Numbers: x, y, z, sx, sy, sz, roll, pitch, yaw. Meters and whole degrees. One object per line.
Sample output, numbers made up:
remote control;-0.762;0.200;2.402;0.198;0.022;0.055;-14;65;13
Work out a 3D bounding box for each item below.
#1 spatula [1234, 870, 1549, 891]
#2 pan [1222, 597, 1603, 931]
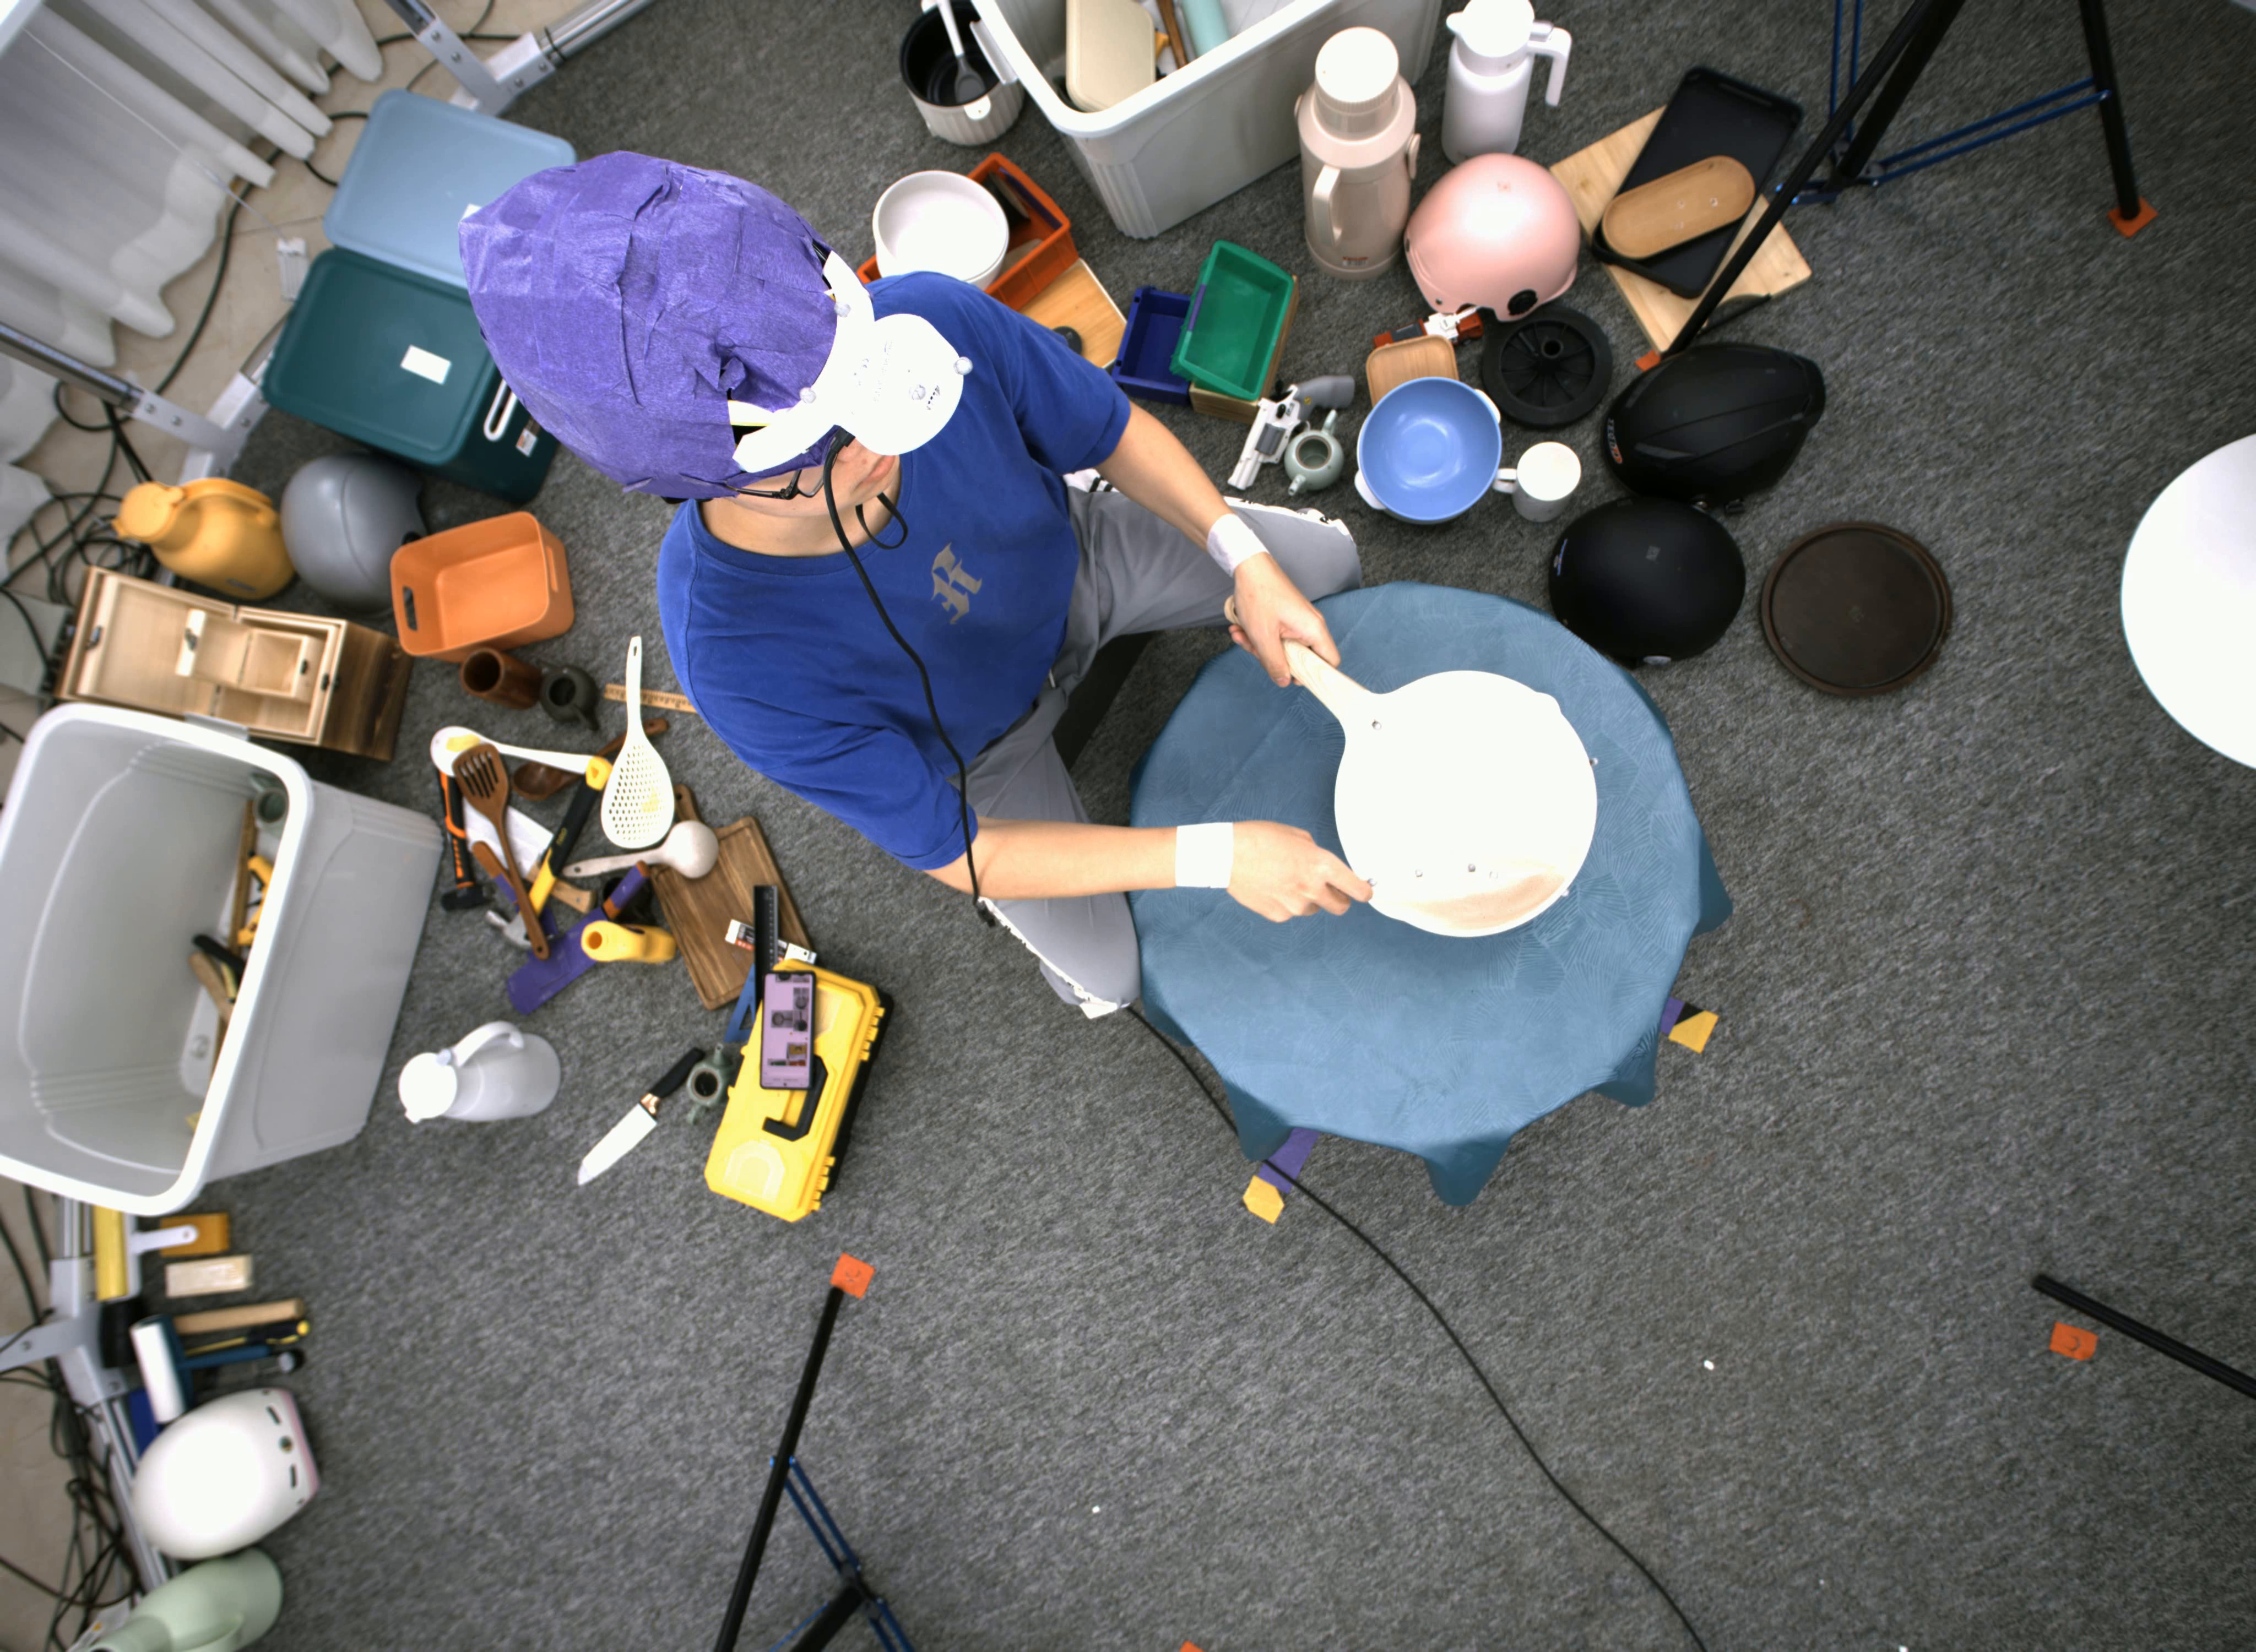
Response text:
spatula;0.248;0.052;1.311;0.294;0.072;0.011;-2;93;5
pan;0.271;-0.089;1.352;0.431;0.101;0.268;44;116;19
